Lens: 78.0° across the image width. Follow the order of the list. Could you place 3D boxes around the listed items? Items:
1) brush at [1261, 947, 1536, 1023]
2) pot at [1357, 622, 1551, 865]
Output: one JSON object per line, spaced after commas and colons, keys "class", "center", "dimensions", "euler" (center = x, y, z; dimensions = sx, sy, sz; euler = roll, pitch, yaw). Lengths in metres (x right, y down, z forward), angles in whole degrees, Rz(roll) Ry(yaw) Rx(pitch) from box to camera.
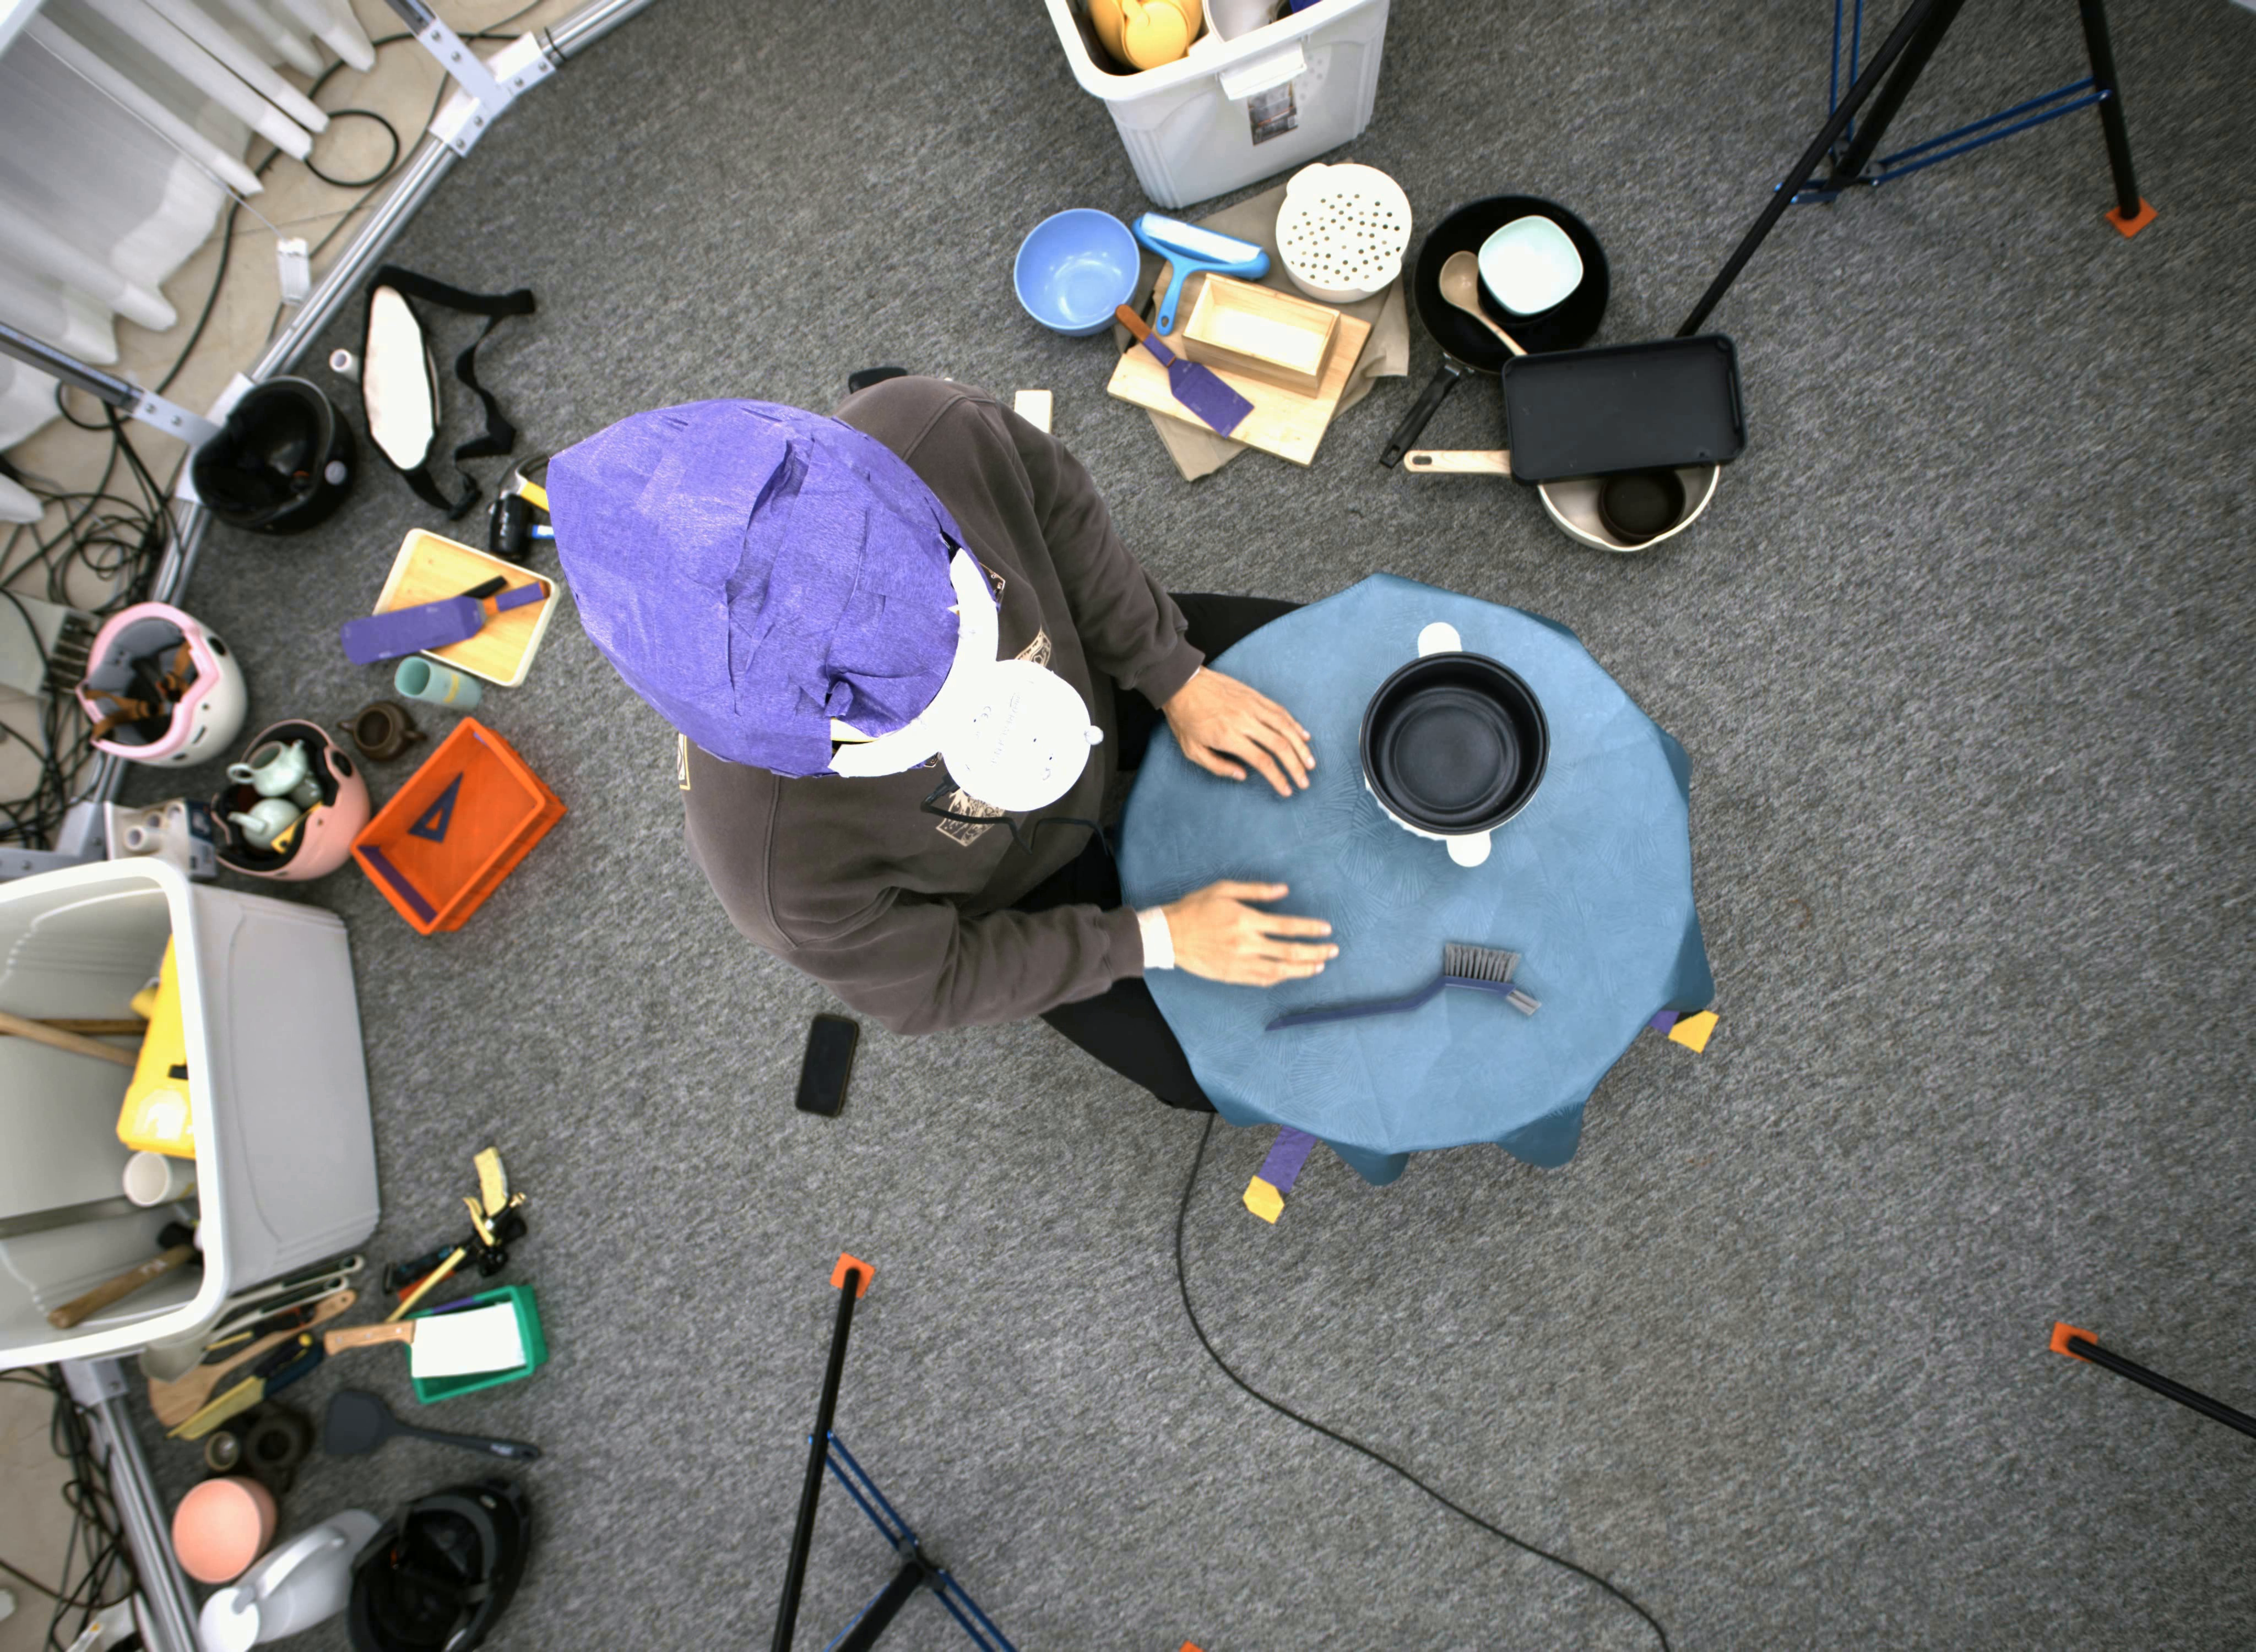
{"class": "brush", "center": [0.278, 0.191, 1.435], "dimensions": [0.274, 0.033, 0.095], "euler": [-17, 85, 8]}
{"class": "pot", "center": [0.329, -0.079, 1.383], "dimensions": [0.192, 0.142, 0.239], "euler": [-9, 86, 14]}
